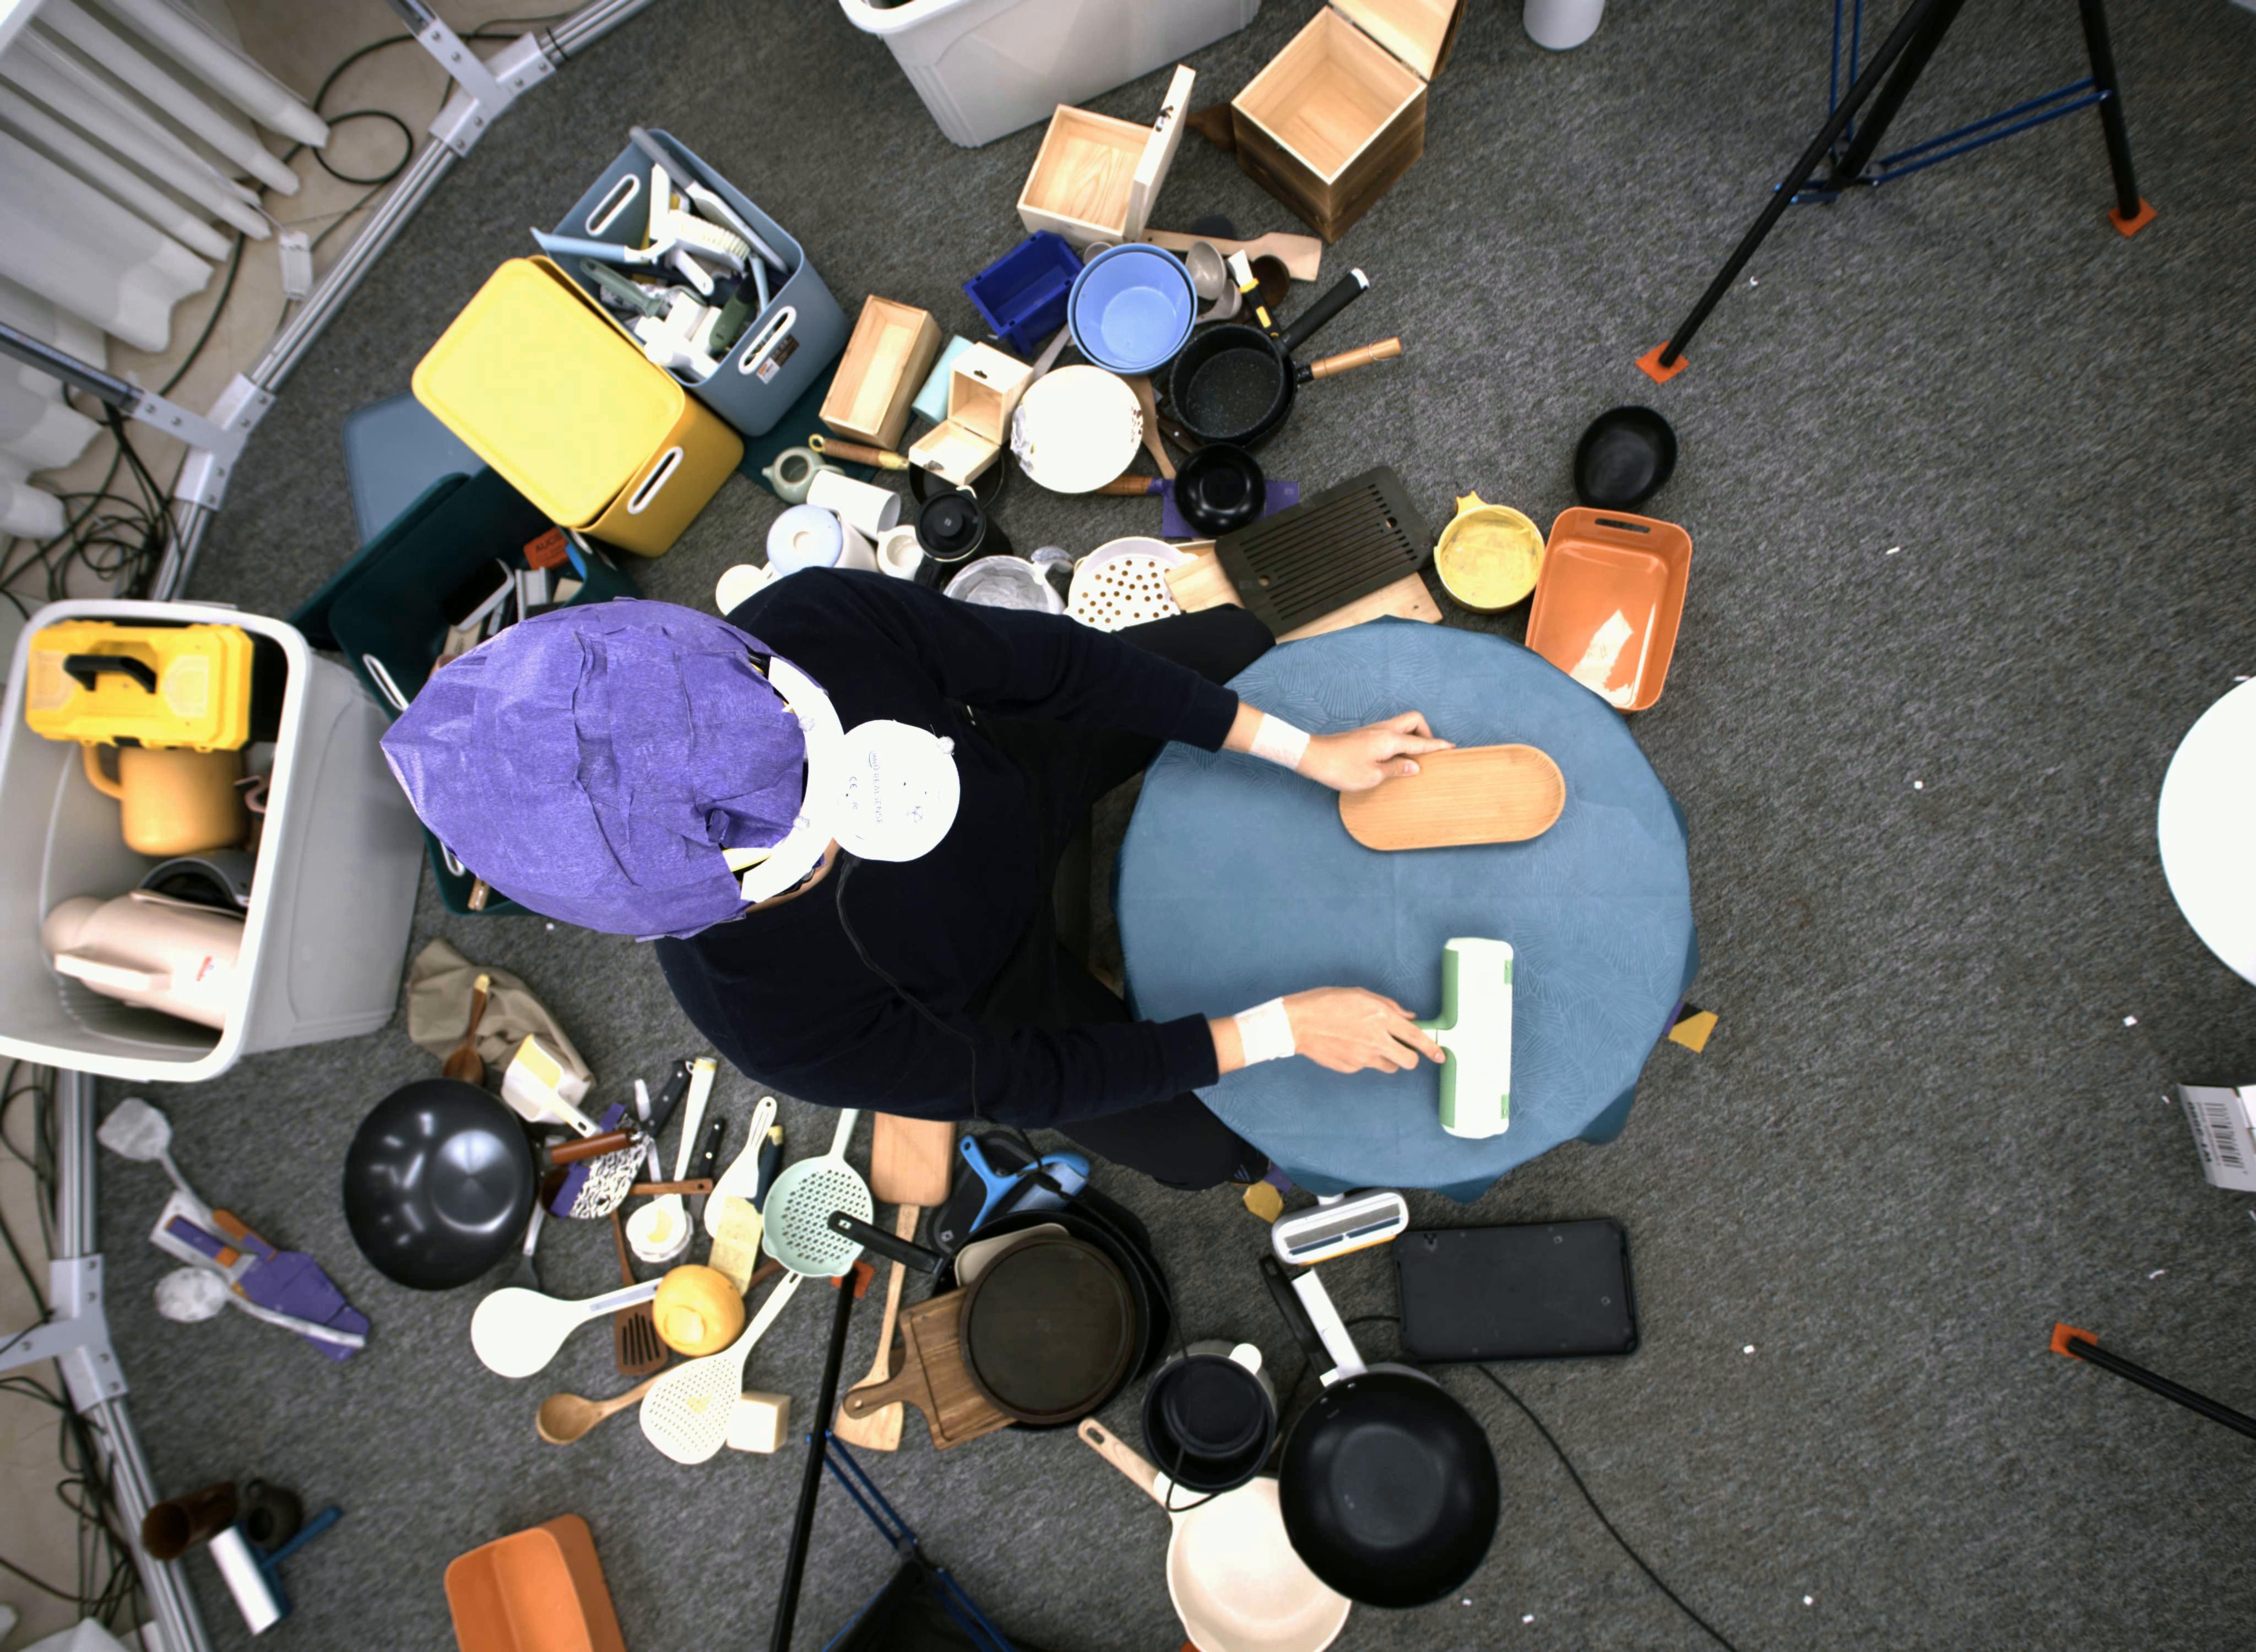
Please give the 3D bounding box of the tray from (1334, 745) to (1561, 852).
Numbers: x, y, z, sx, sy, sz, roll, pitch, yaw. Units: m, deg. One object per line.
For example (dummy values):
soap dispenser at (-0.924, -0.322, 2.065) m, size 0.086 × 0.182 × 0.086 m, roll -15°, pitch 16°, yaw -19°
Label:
tray at (0.330, -0.030, 1.429) m, size 0.233 × 0.020 × 0.102 m, roll -5°, pitch 96°, yaw 18°

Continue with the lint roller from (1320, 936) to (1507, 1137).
lint roller at (0.288, 0.210, 1.370) m, size 0.183 × 0.082 × 0.199 m, roll -2°, pitch 94°, yaw -7°
